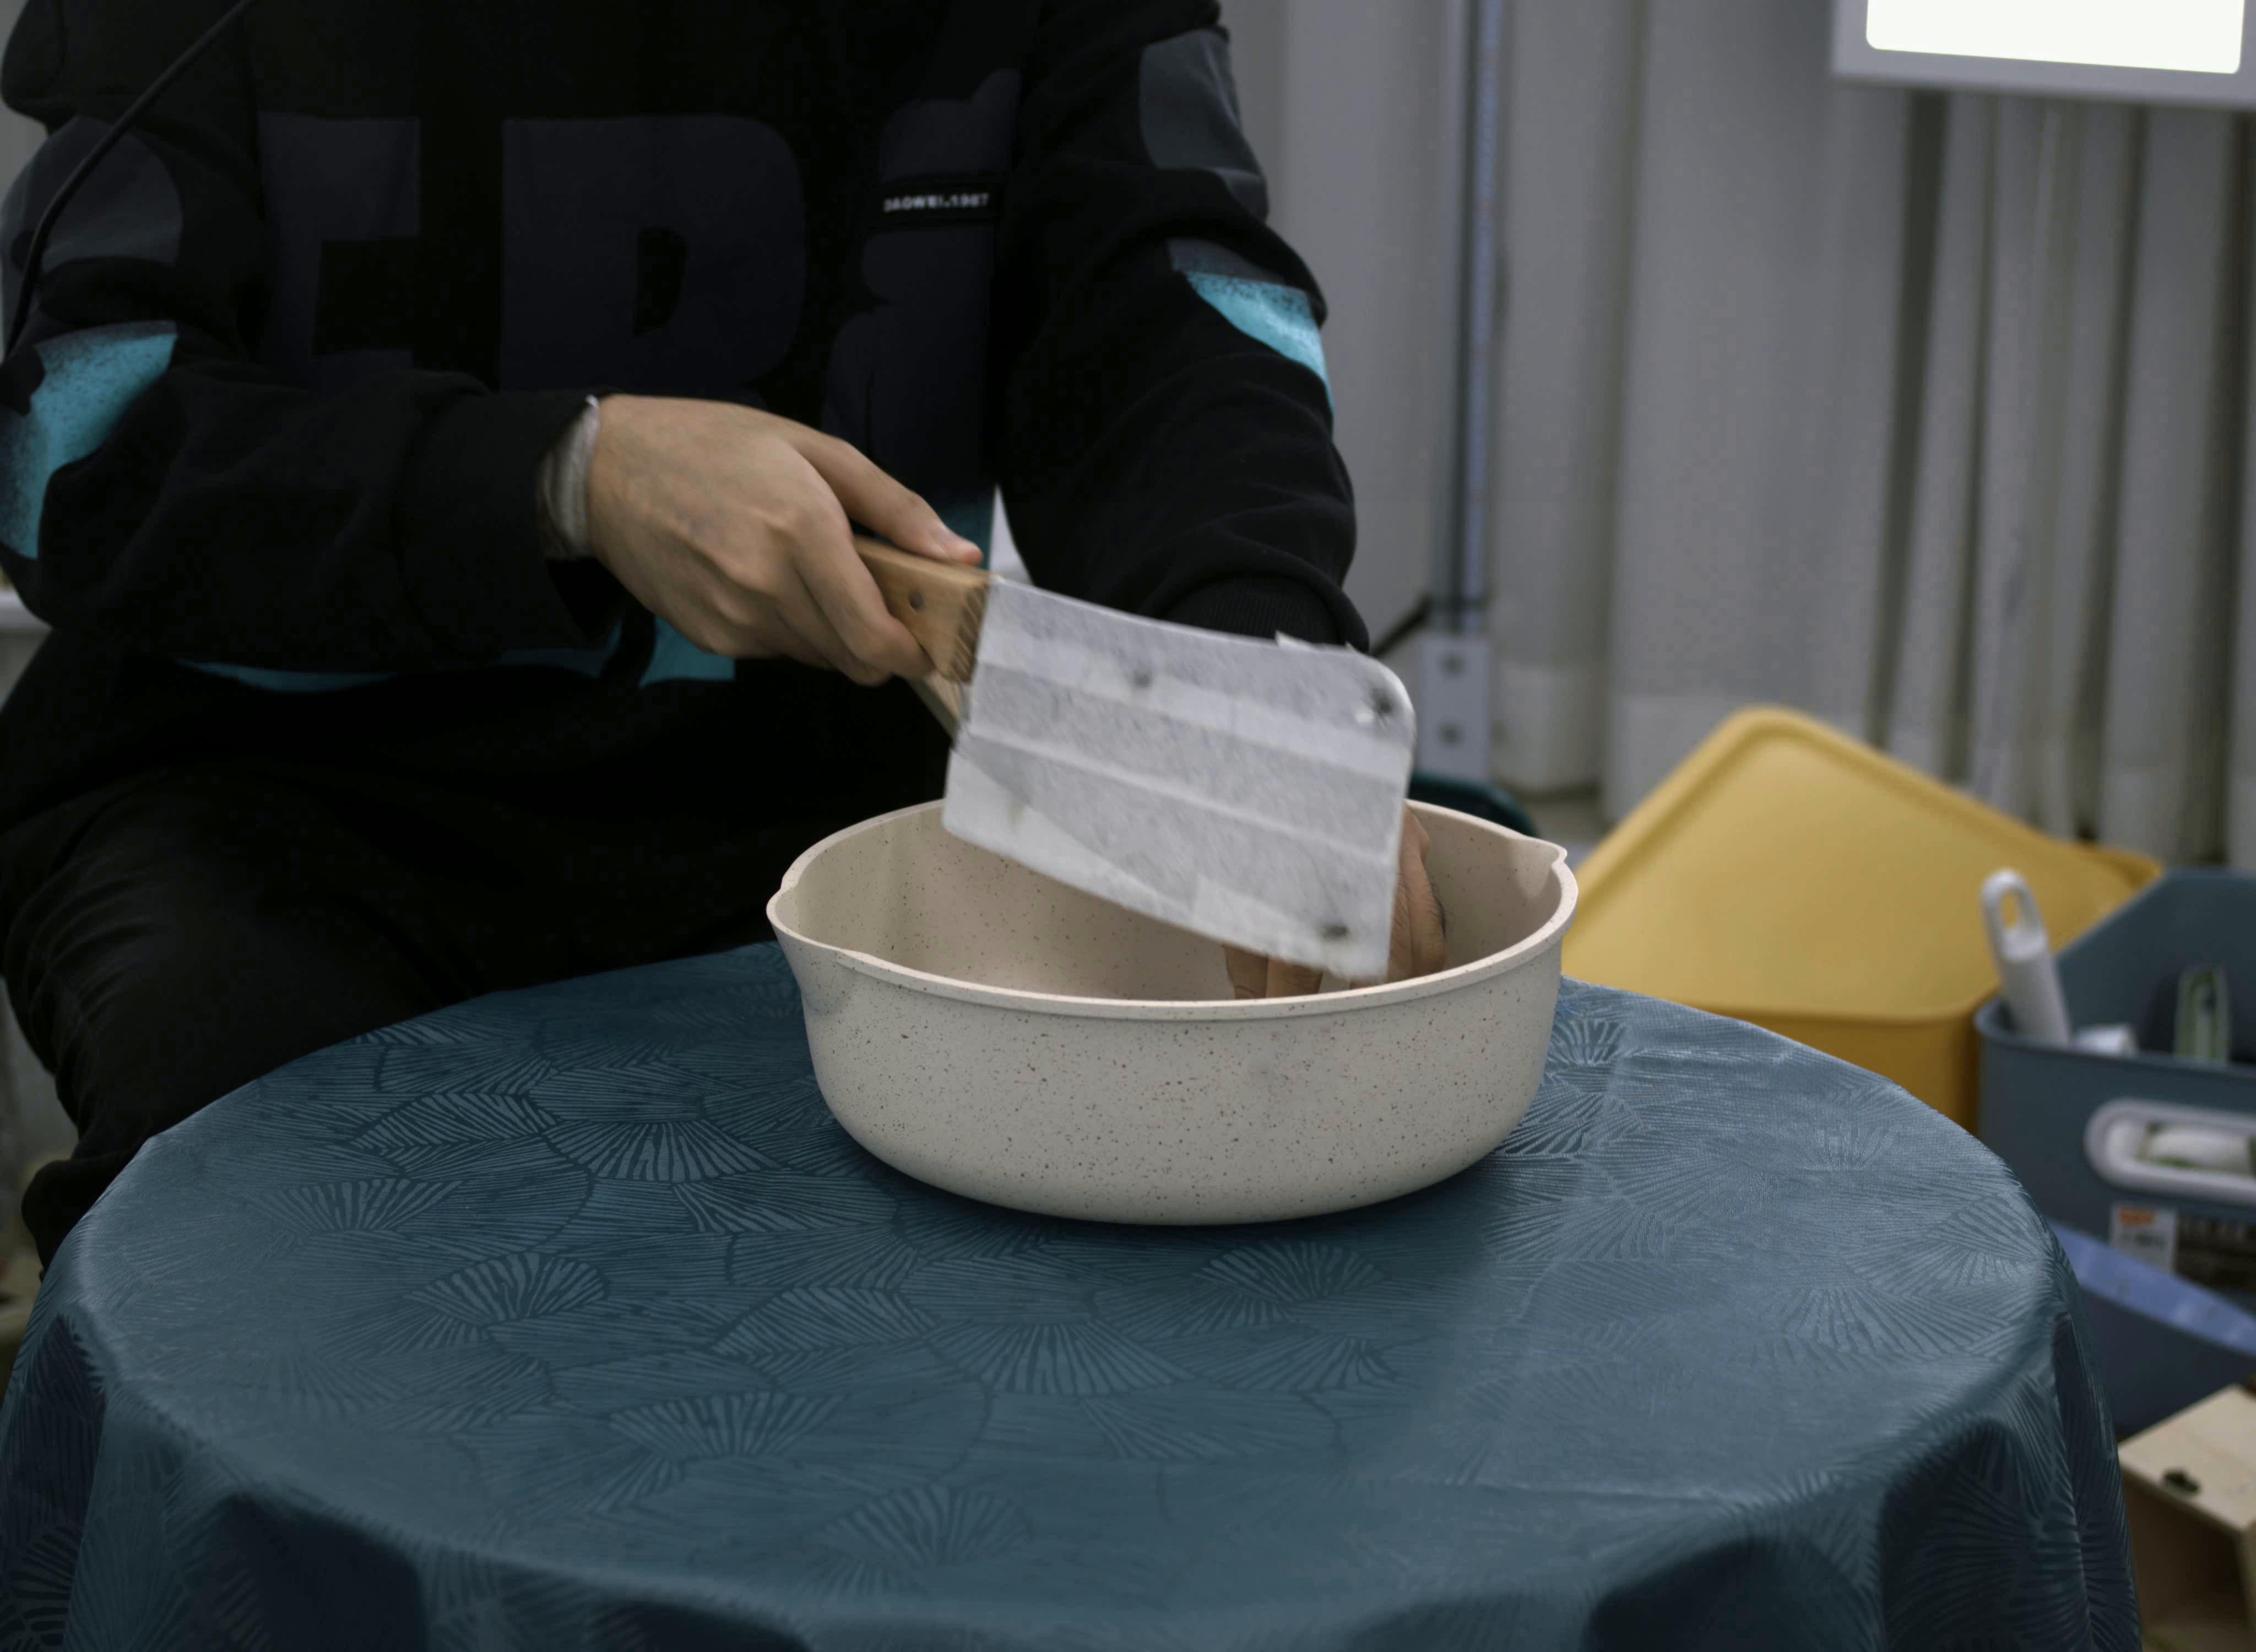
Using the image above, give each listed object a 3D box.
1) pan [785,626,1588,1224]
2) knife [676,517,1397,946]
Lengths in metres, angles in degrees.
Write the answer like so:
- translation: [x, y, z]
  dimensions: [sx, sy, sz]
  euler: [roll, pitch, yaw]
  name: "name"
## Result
- translation: [-0.011, 0.026, 1.749]
  dimensions: [0.264, 0.103, 0.430]
  euler: [-8, 17, -19]
  name: "pan"
- translation: [-0.032, -0.046, 1.685]
  dimensions: [0.311, 0.114, 0.022]
  euler: [22, 17, 36]
  name: "knife"
